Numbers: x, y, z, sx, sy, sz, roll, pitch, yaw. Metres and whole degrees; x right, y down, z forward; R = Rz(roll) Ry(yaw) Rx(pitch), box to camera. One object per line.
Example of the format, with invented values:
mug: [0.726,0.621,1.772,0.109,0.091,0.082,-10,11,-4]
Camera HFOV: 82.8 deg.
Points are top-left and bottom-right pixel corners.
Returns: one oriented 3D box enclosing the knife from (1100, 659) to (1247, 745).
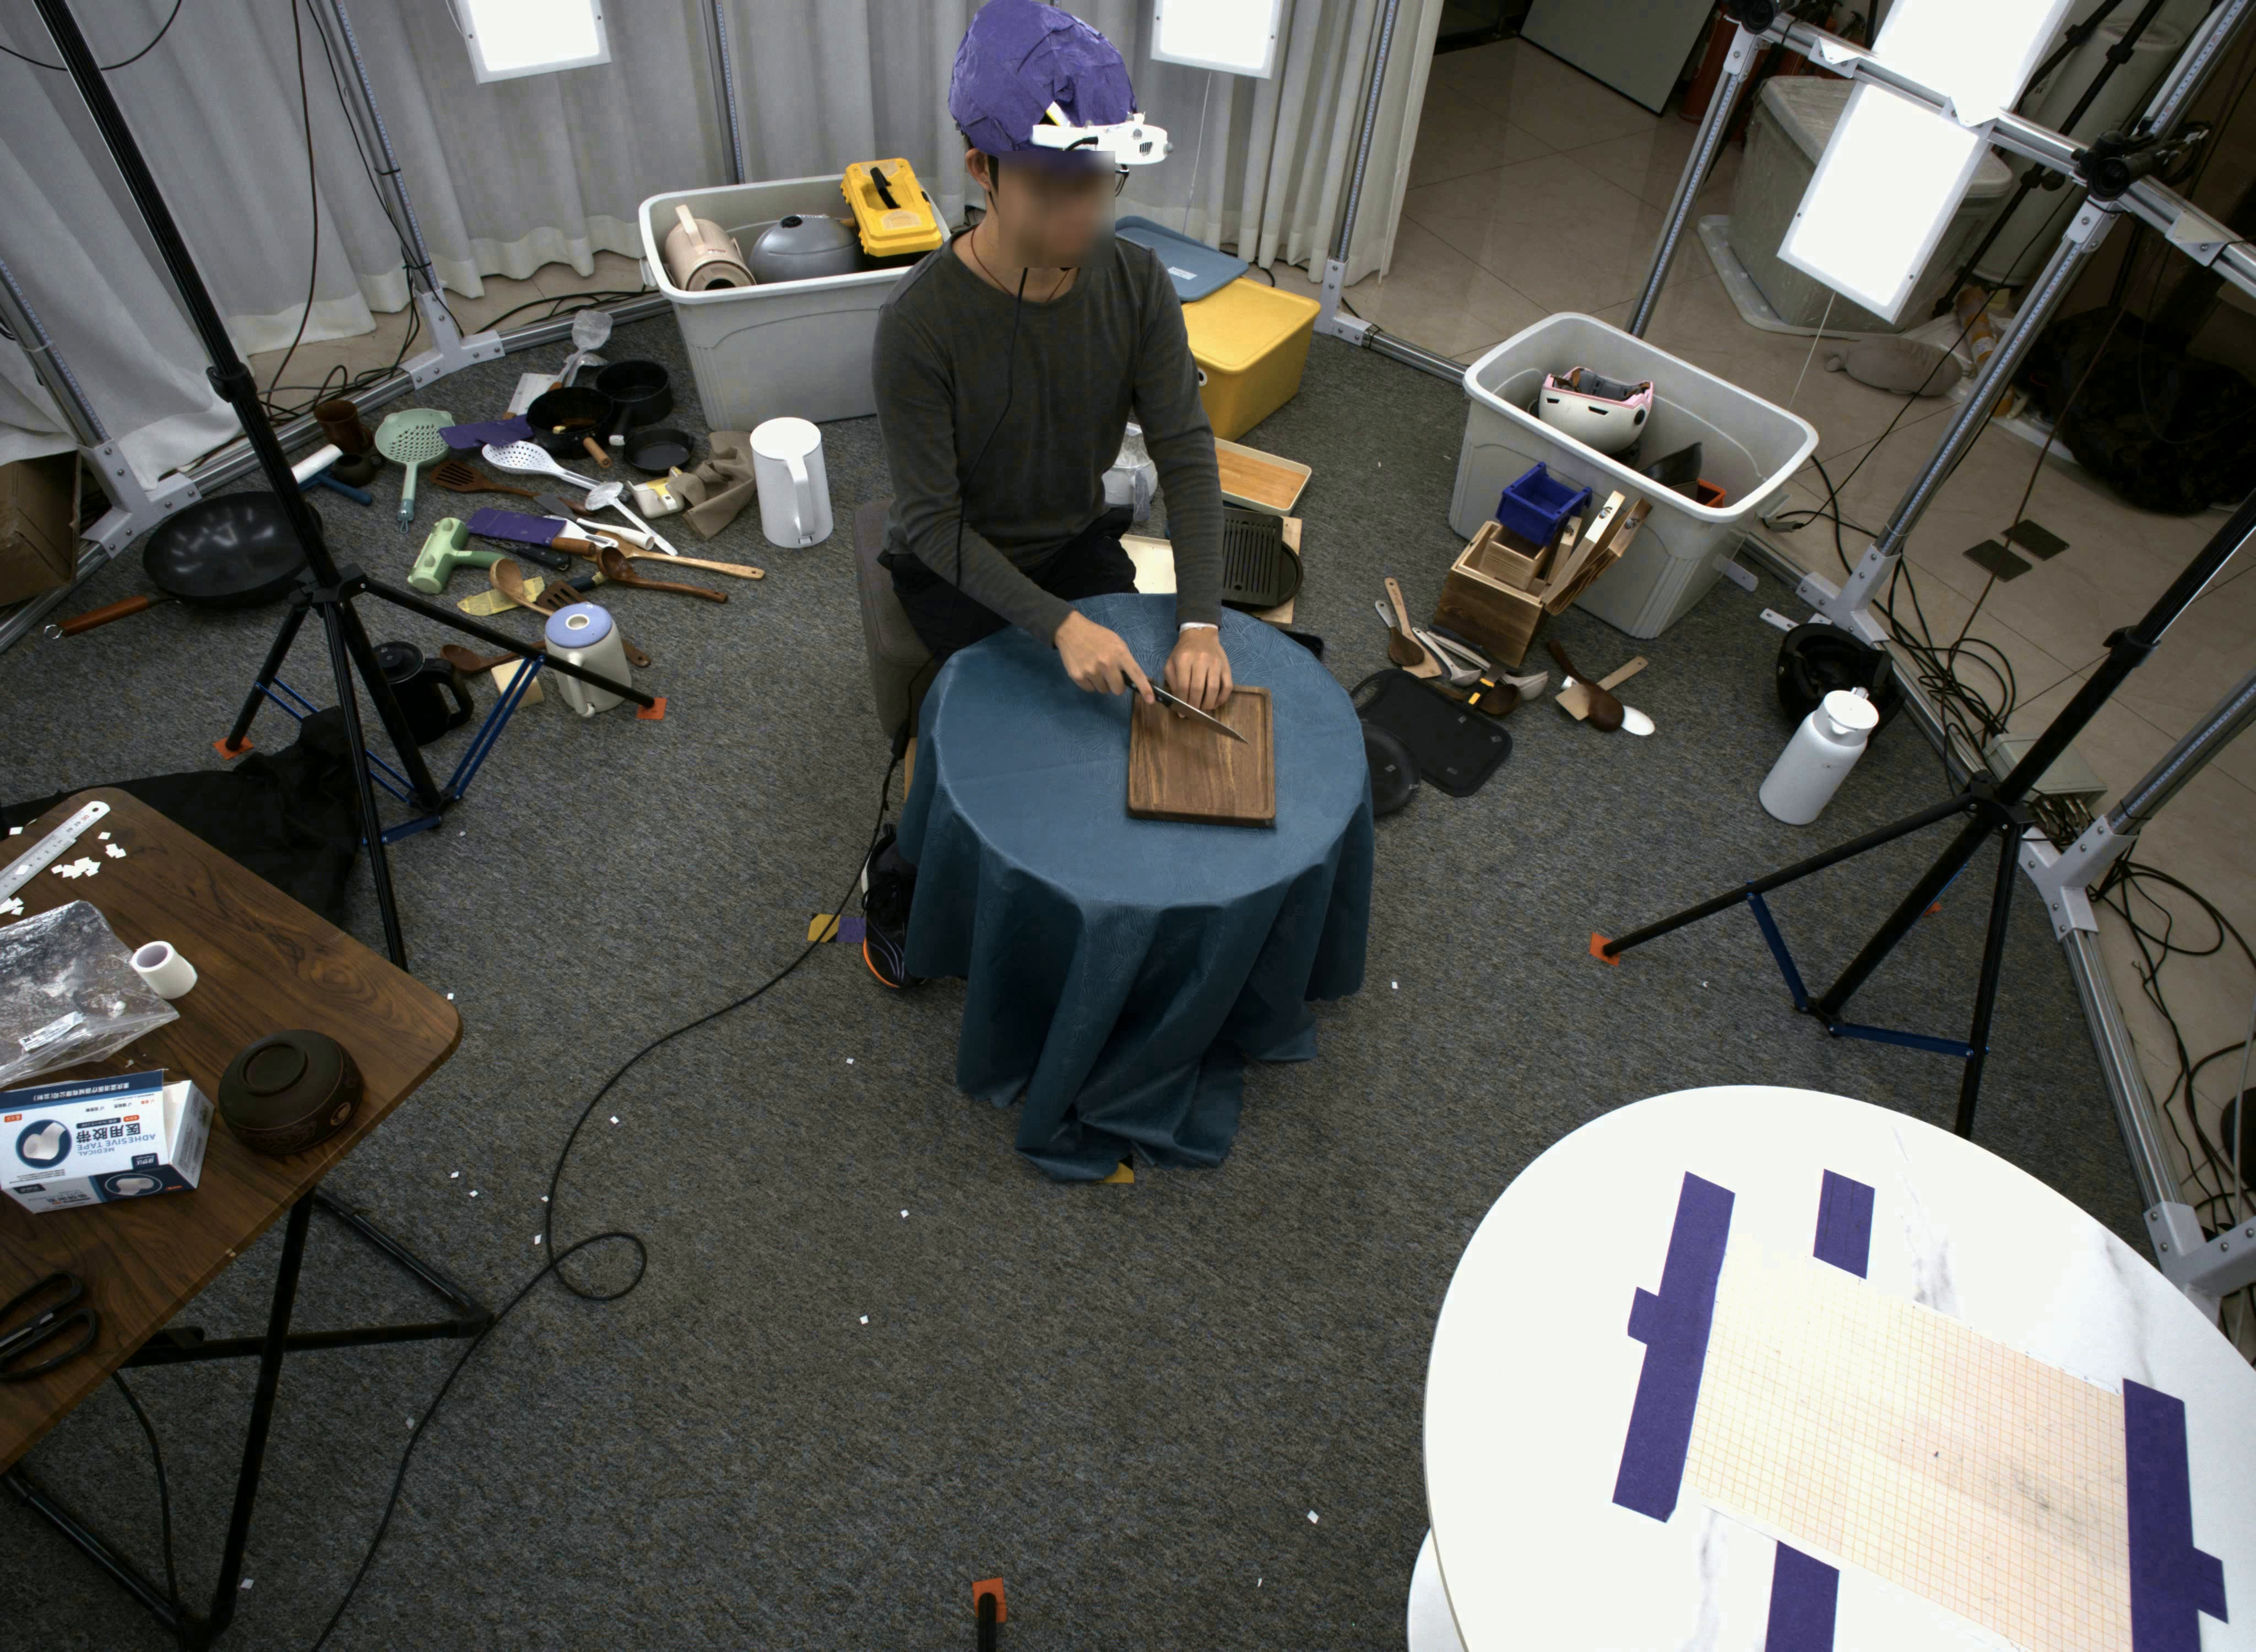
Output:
knife: [0.061,-0.169,1.743,0.240,0.024,0.016,31,58,18]

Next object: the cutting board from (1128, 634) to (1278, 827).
cutting board: [0.103,-0.143,1.785,0.201,0.022,0.361,4,49,-1]
